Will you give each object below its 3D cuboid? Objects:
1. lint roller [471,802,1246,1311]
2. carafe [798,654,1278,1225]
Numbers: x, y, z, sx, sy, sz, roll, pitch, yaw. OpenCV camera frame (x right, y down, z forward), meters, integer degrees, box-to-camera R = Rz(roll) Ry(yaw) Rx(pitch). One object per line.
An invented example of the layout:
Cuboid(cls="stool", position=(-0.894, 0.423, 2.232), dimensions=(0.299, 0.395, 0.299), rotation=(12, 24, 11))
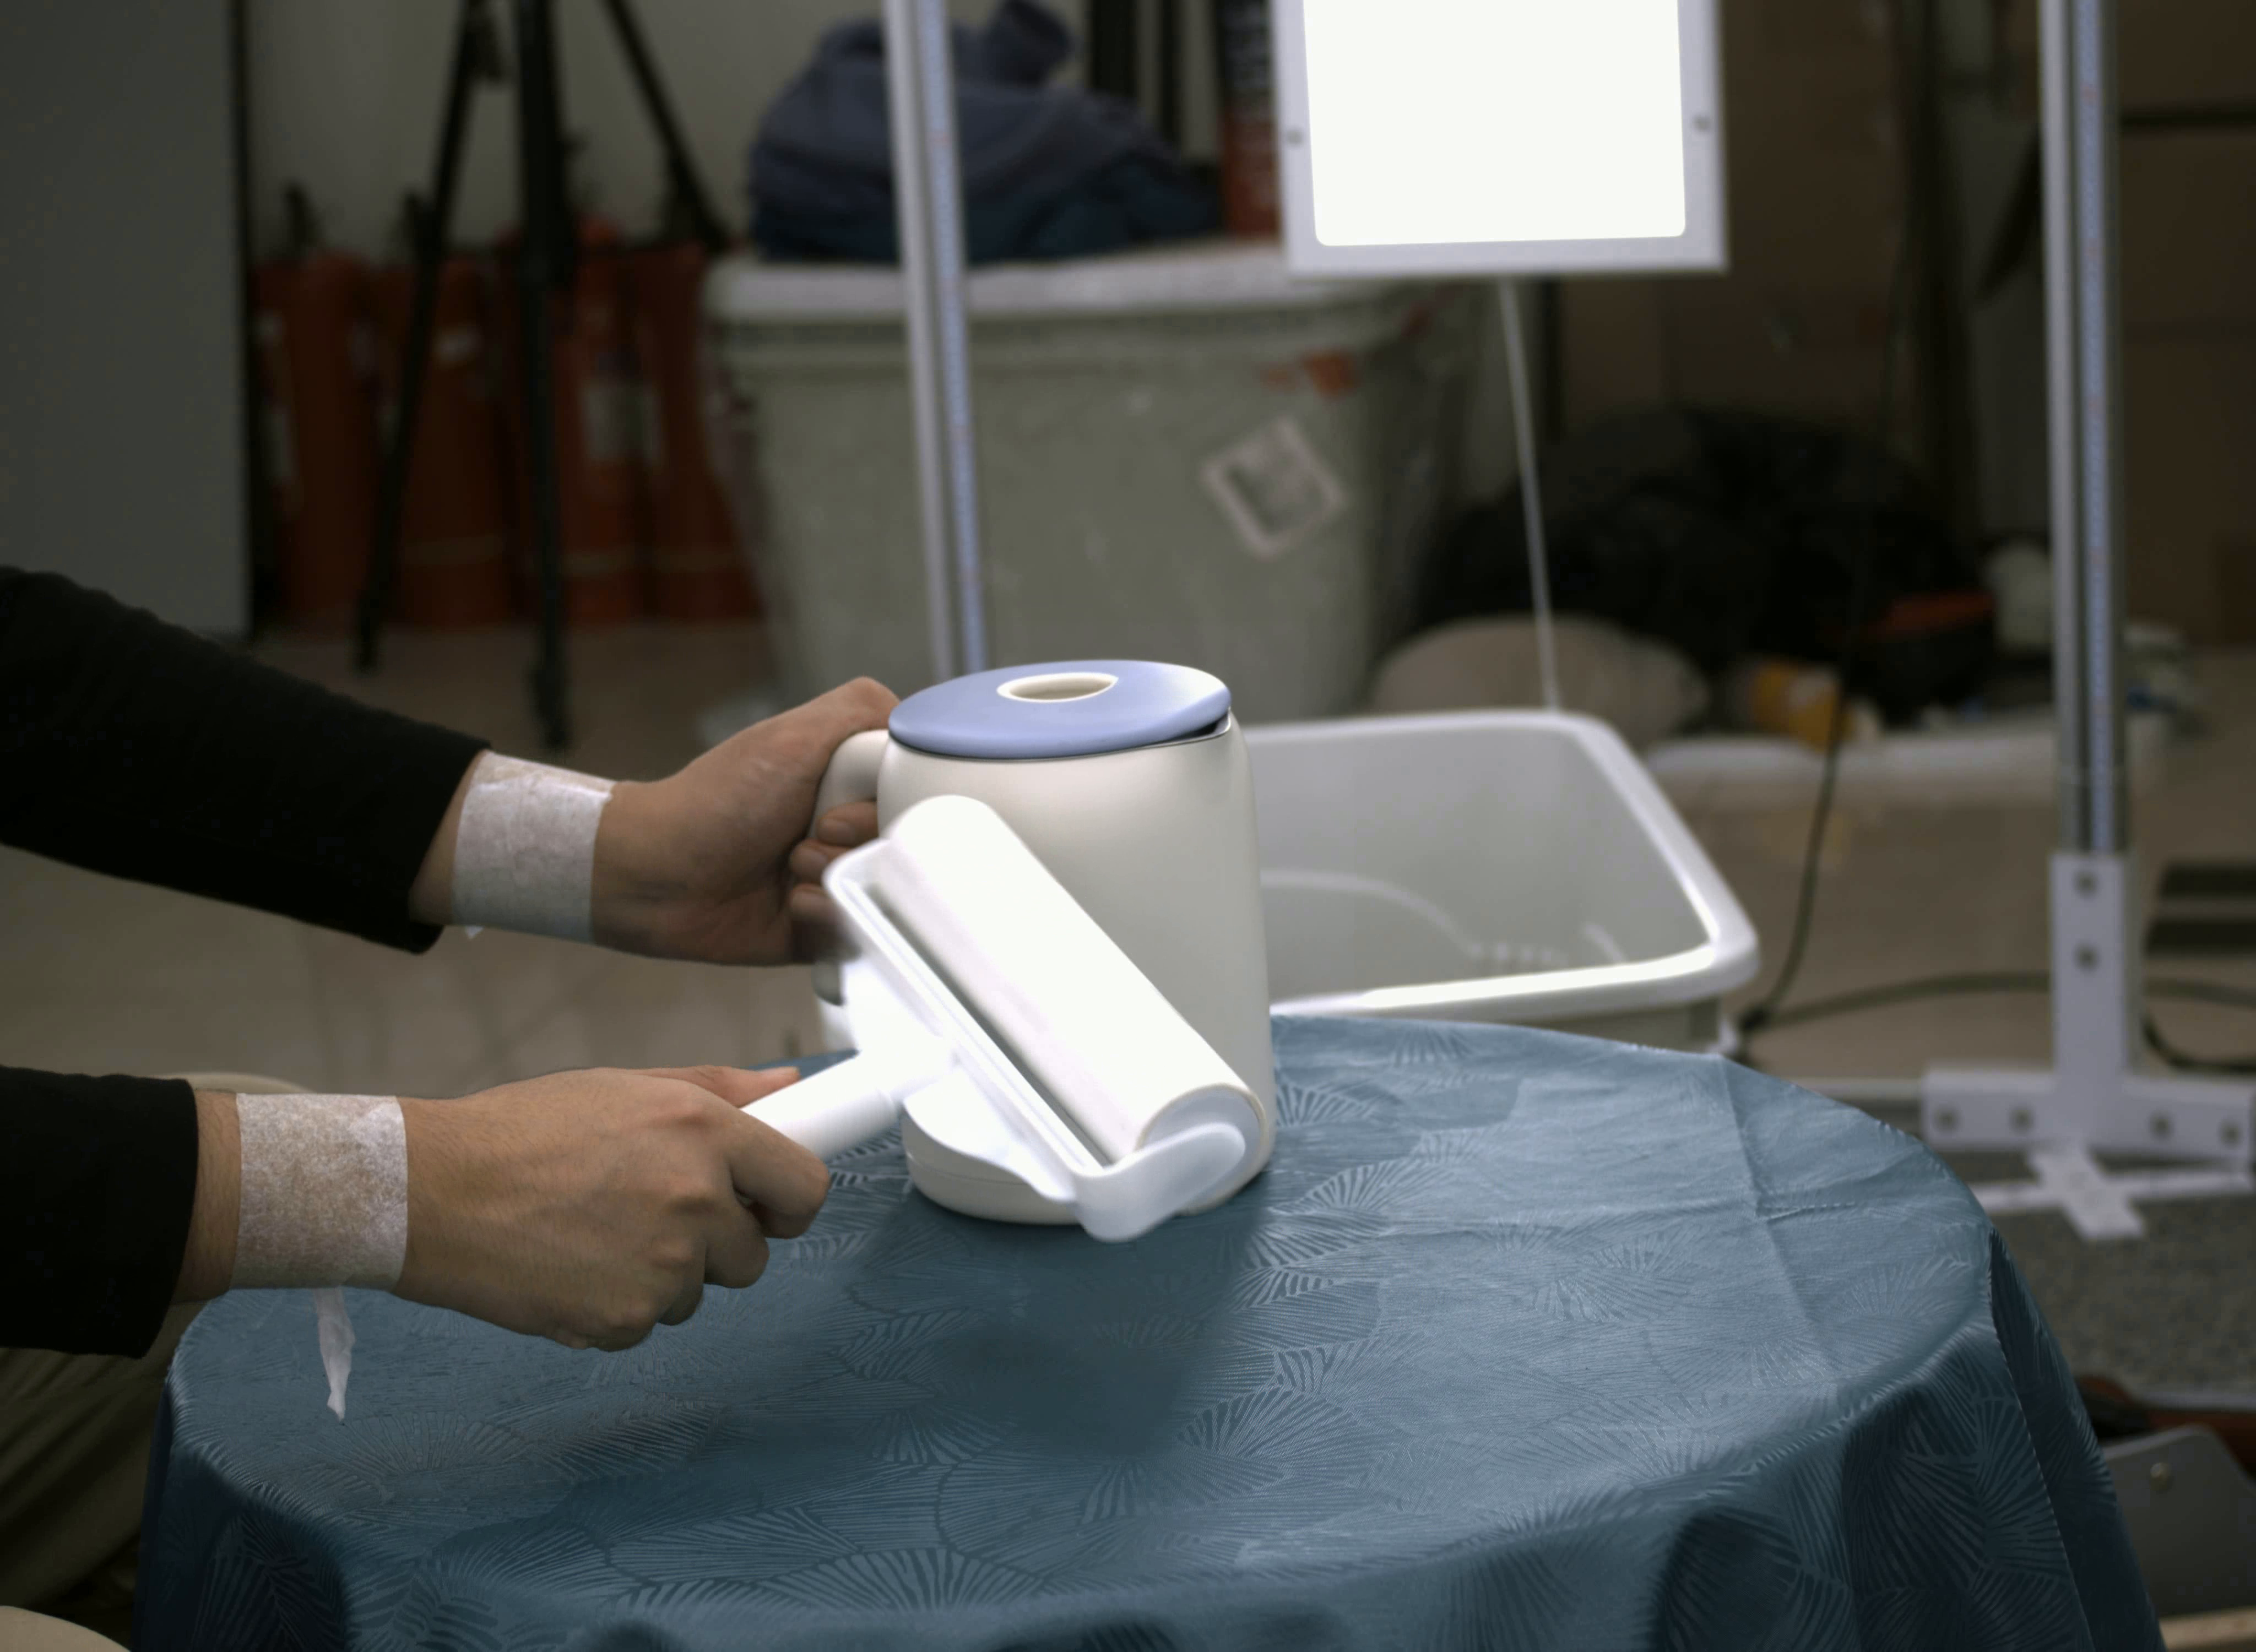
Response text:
Cuboid(cls="lint roller", position=(-0.104, 0.088, 1.714), dimensions=(0.222, 0.048, 0.205), rotation=(-25, 37, -18))
Cuboid(cls="carafe", position=(-0.038, 0.037, 1.916), dimensions=(0.195, 0.183, 0.129), rotation=(4, 15, 38))
